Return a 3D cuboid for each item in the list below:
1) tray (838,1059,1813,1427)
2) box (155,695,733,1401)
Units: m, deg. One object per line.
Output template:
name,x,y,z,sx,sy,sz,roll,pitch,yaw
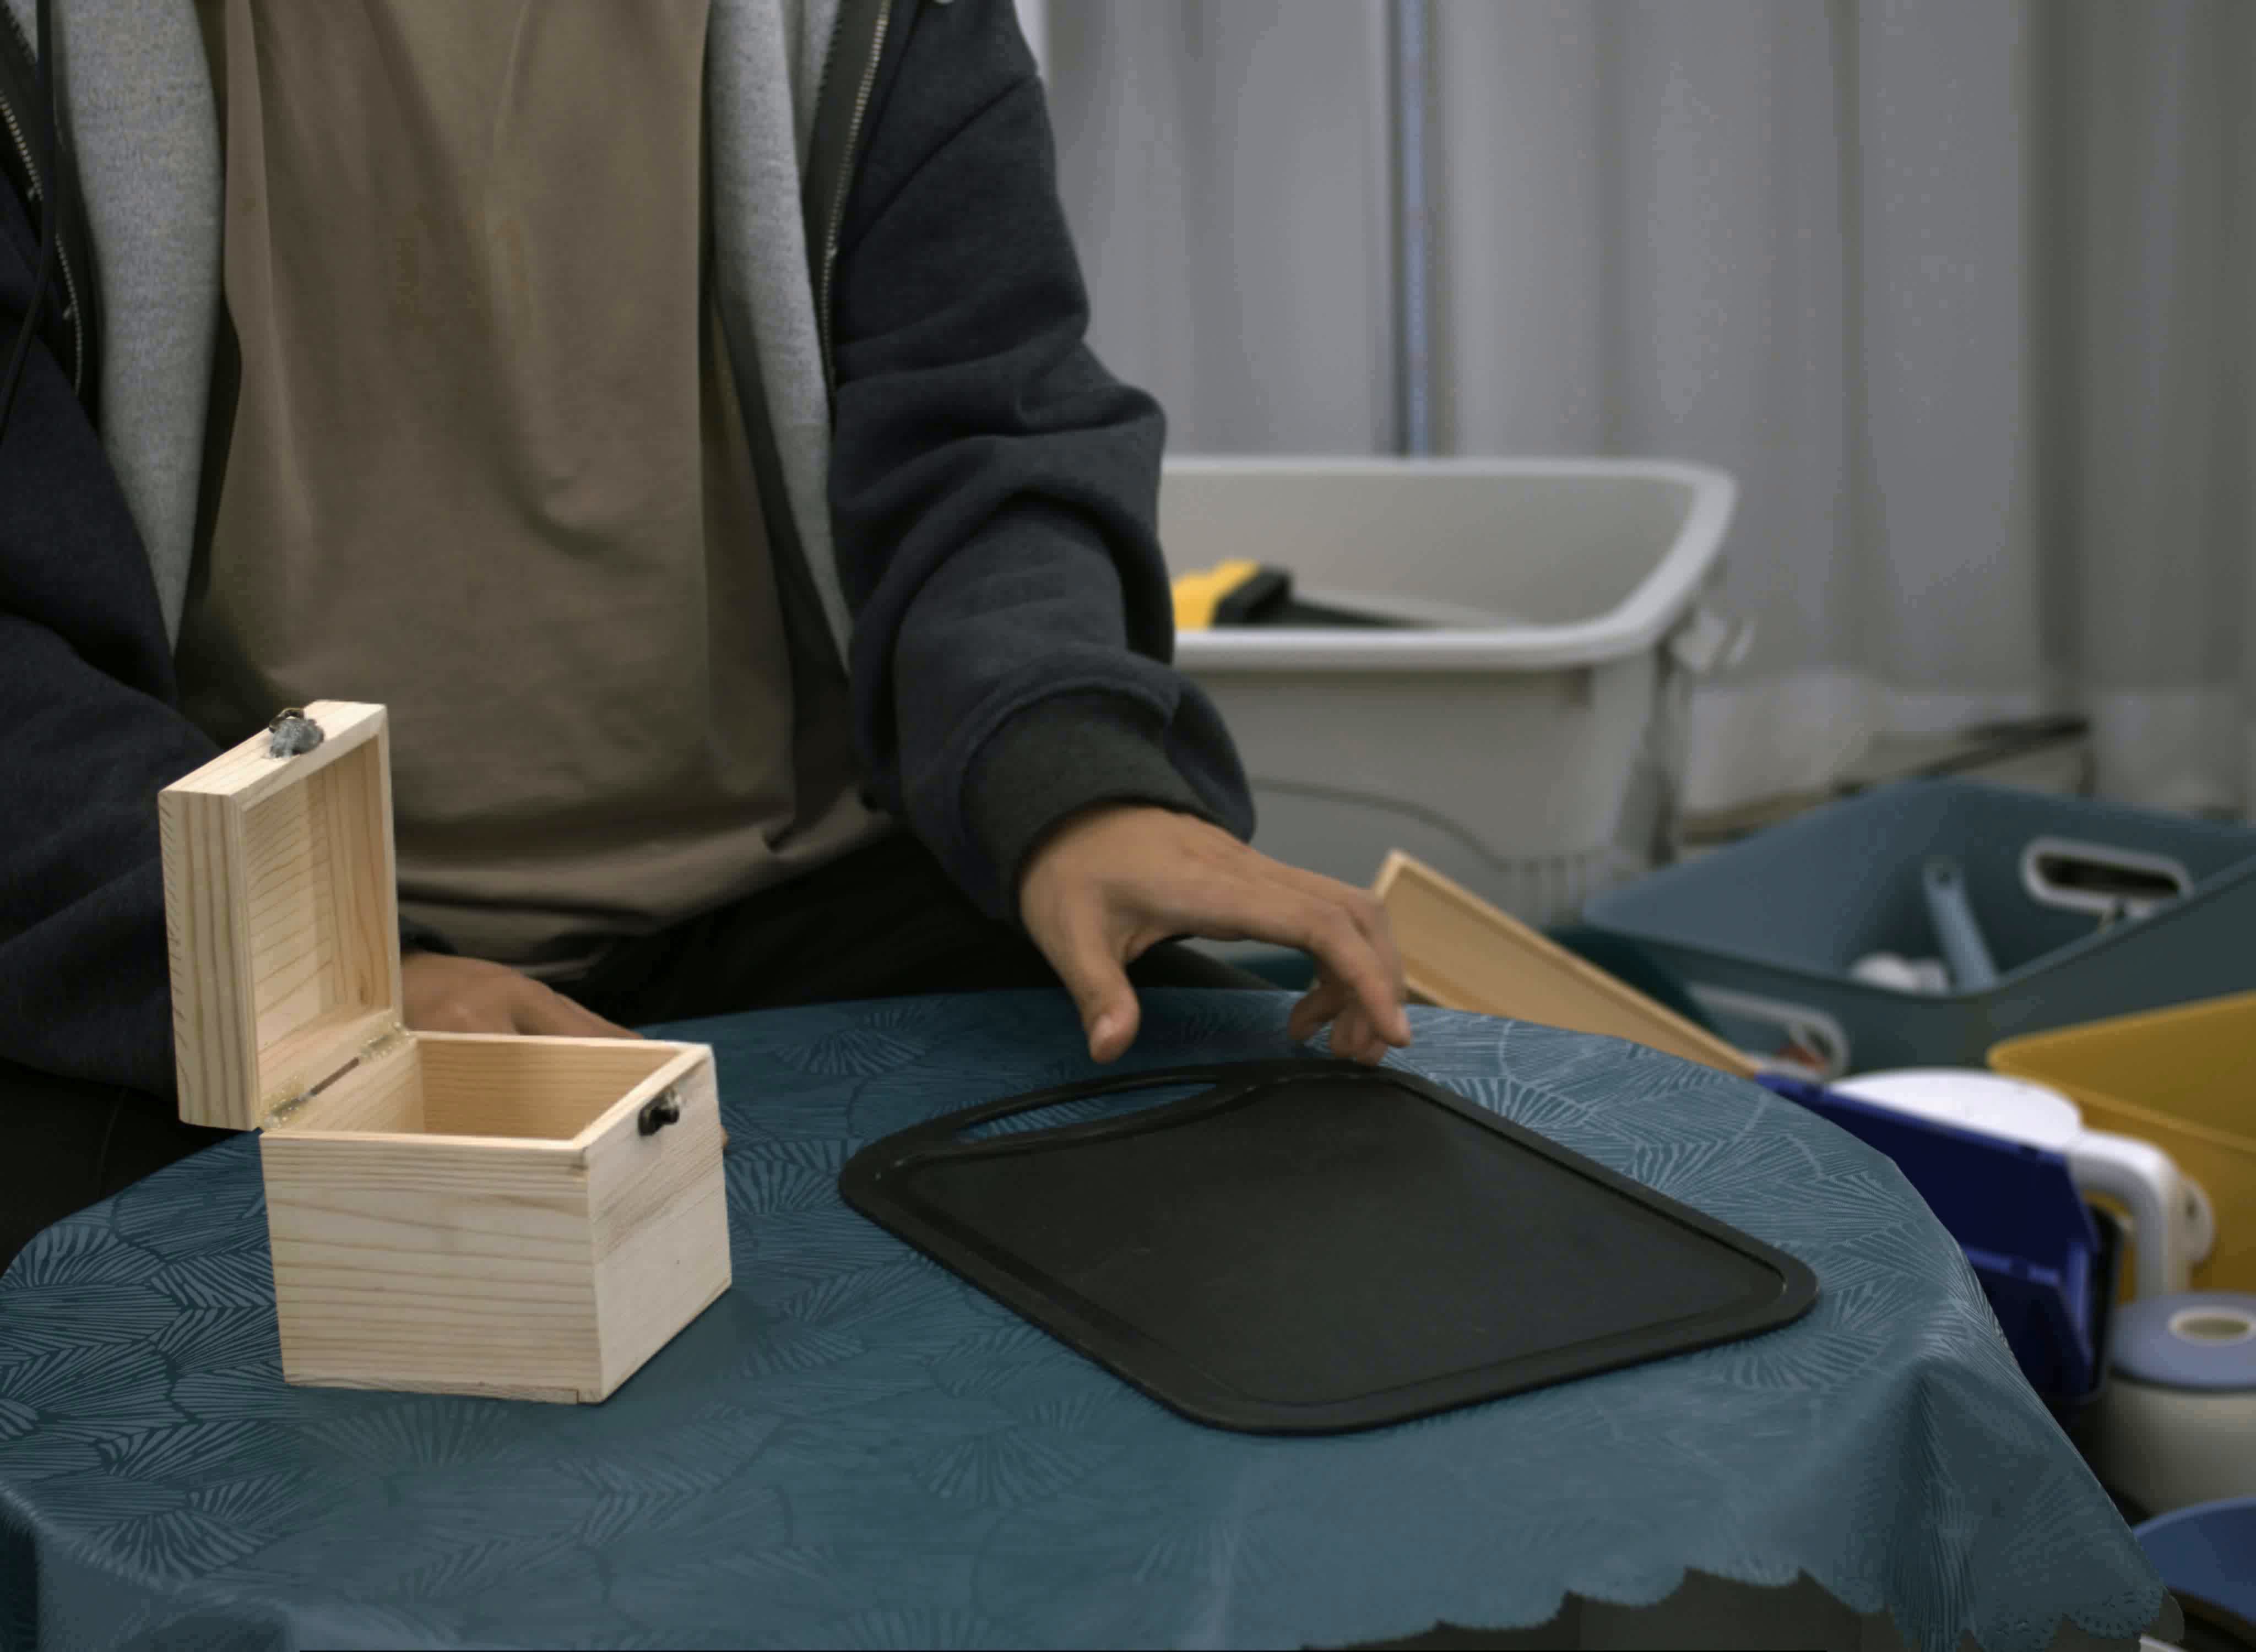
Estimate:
tray,0.049,0.120,1.673,0.210,0.010,0.328,-10,16,-25
box,-0.195,0.062,1.597,0.134,0.184,0.103,0,15,18
